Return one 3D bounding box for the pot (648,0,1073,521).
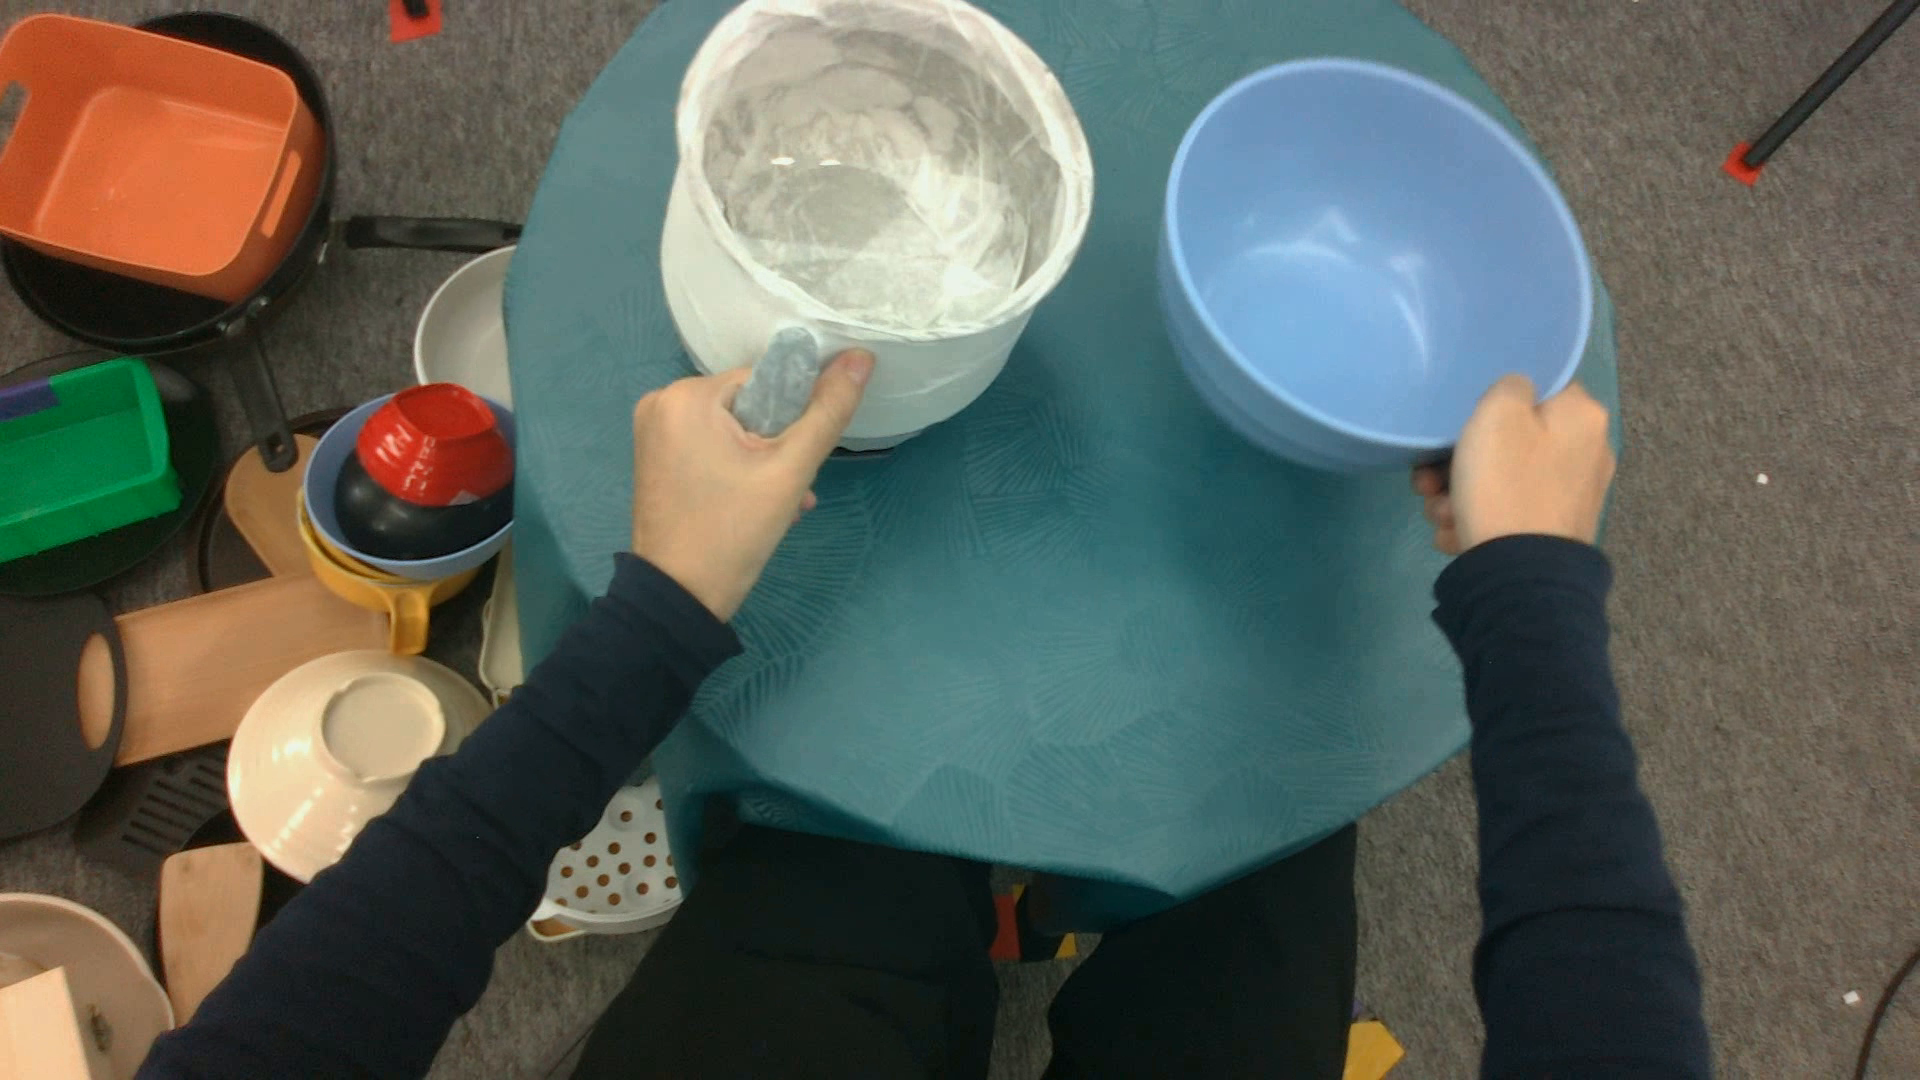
[{"bbox_3d":[-0.060,-0.124,0.621,0.179,0.136,0.234,22,64,-6],"label":"pot"}]

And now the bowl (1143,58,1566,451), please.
[{"bbox_3d":[0.168,-0.117,0.643,0.196,0.095,0.197,7,62,-12],"label":"bowl"}]
